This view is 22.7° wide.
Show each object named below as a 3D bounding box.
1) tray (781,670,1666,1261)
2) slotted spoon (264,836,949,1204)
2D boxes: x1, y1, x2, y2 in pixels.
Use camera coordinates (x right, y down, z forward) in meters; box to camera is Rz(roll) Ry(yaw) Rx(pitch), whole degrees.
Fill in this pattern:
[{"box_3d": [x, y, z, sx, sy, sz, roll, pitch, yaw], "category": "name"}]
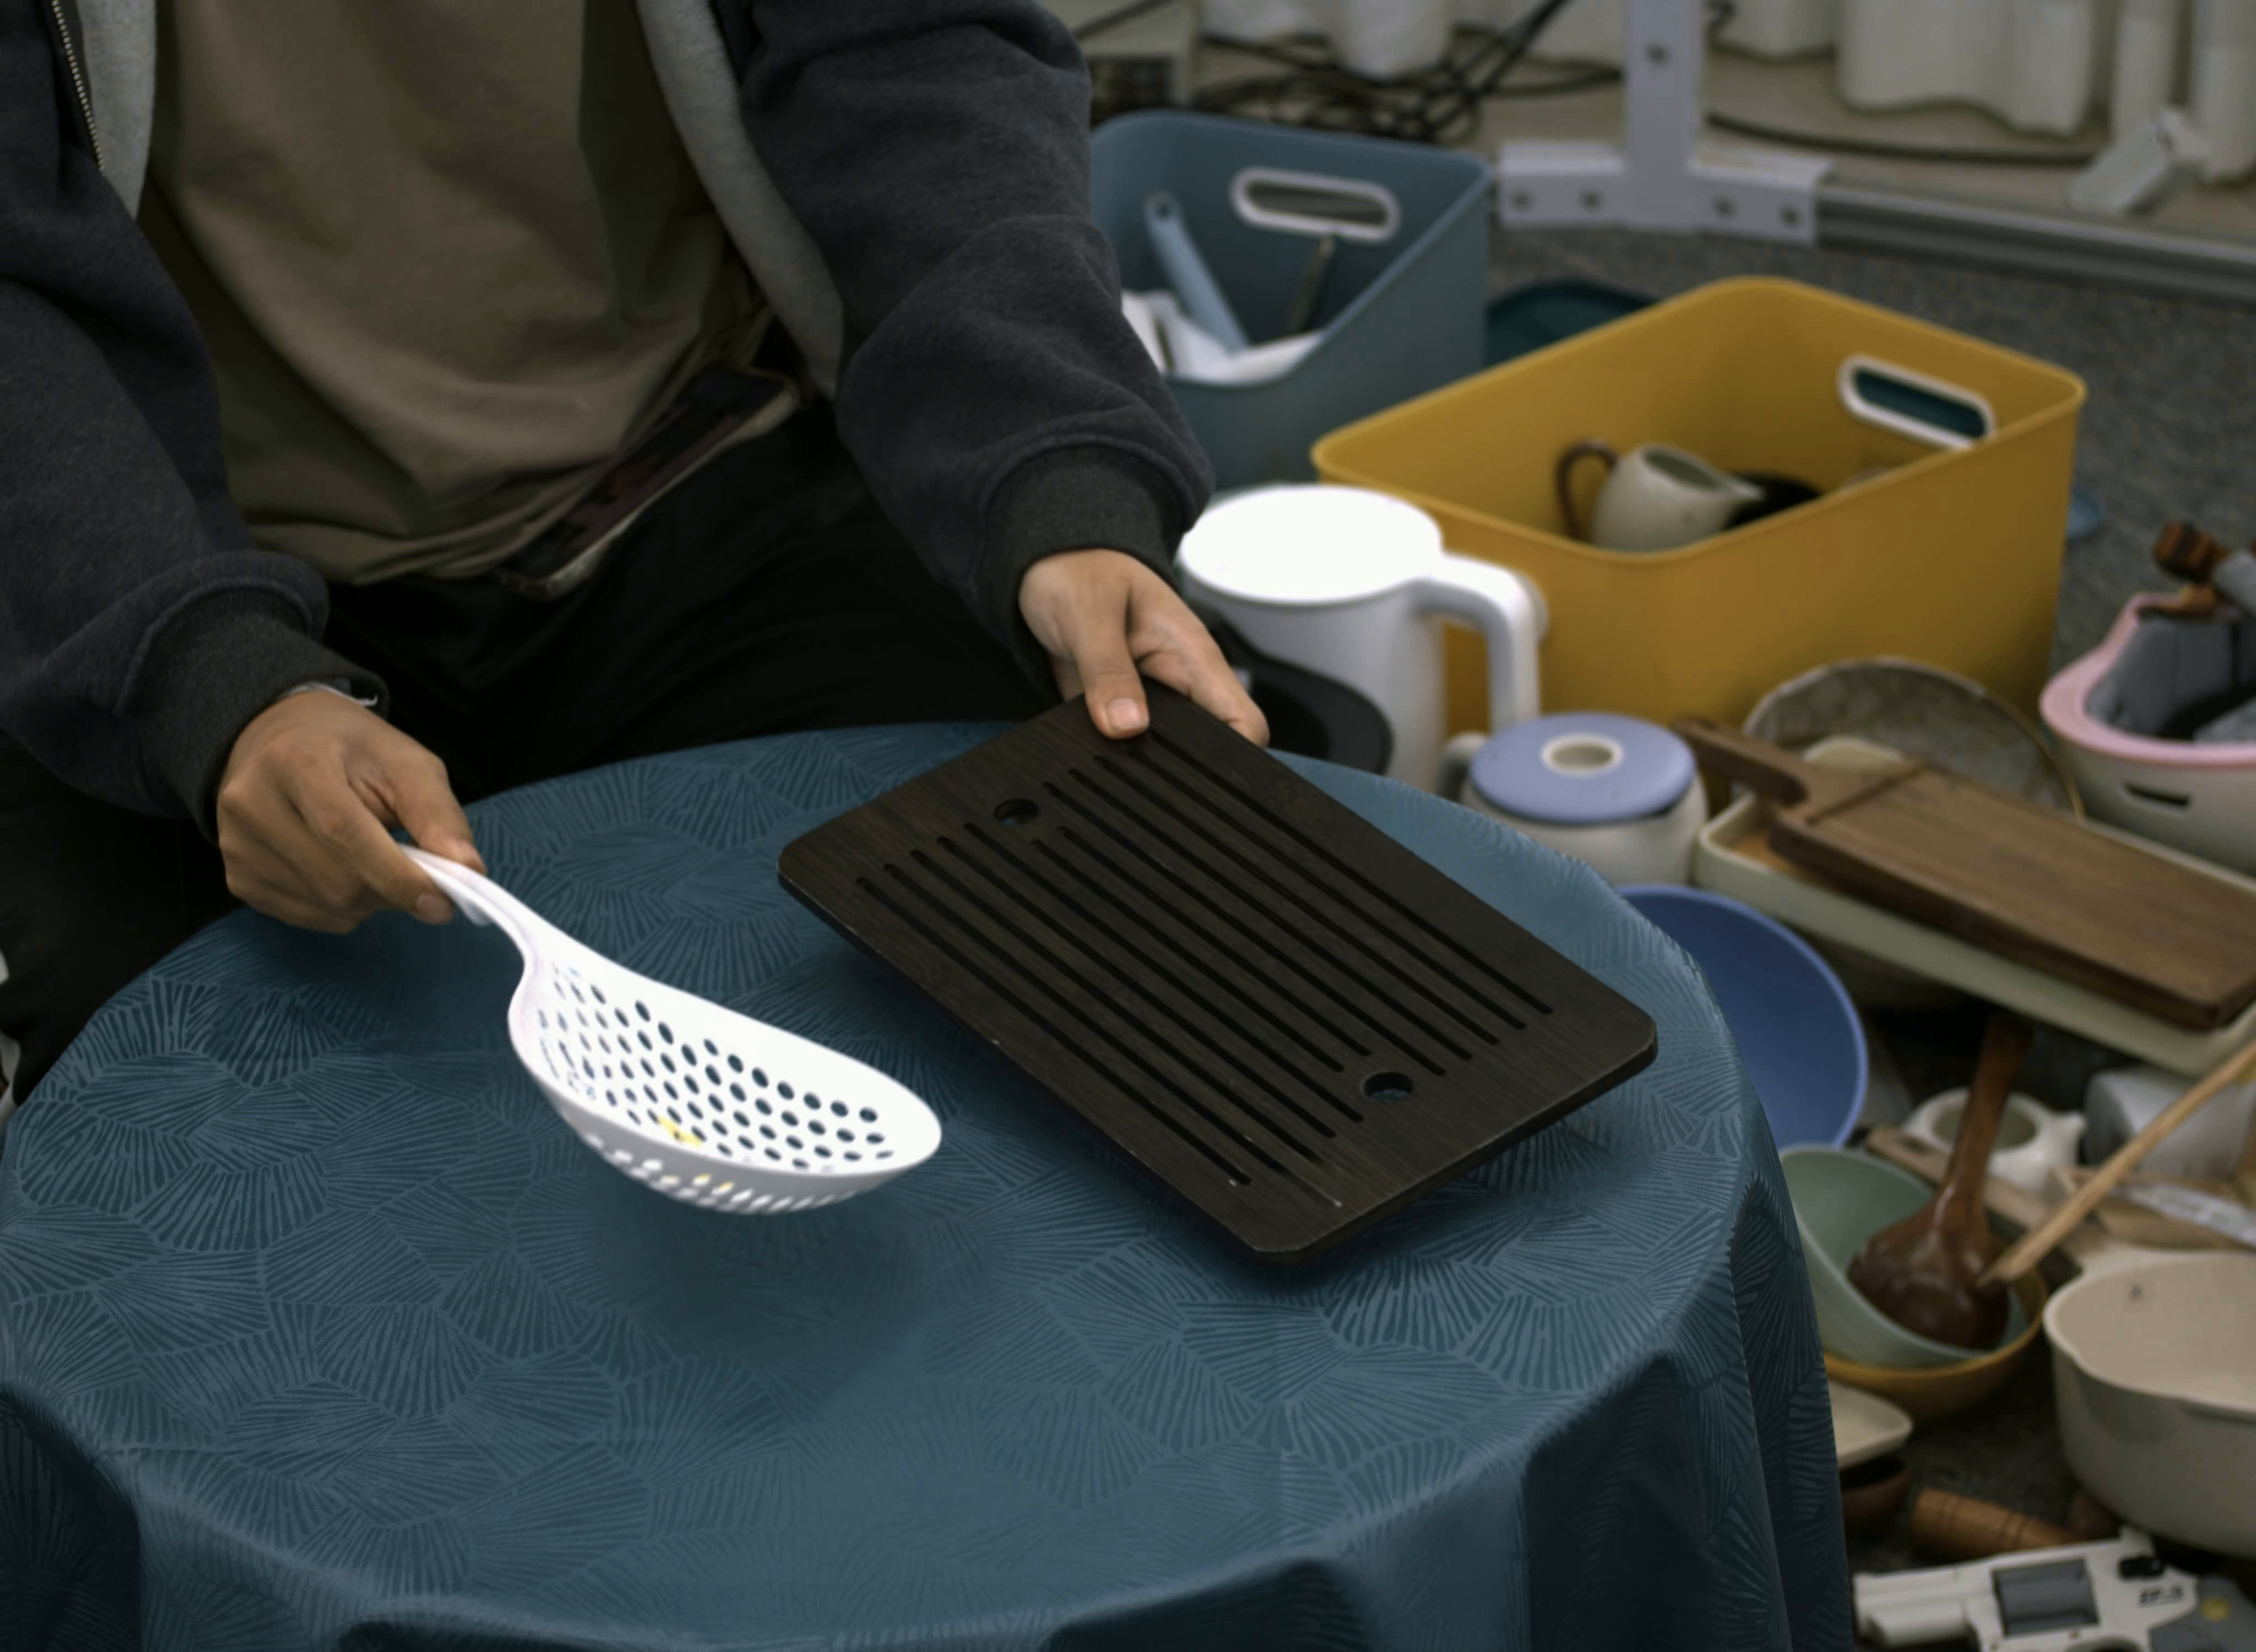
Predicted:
[{"box_3d": [0.028, 0.044, 1.934, 0.171, 0.018, 0.307, -27, 39, -26], "category": "tray"}, {"box_3d": [-0.193, 0.054, 1.888, 0.137, 0.050, 0.349, 1, 23, -39], "category": "slotted spoon"}]
